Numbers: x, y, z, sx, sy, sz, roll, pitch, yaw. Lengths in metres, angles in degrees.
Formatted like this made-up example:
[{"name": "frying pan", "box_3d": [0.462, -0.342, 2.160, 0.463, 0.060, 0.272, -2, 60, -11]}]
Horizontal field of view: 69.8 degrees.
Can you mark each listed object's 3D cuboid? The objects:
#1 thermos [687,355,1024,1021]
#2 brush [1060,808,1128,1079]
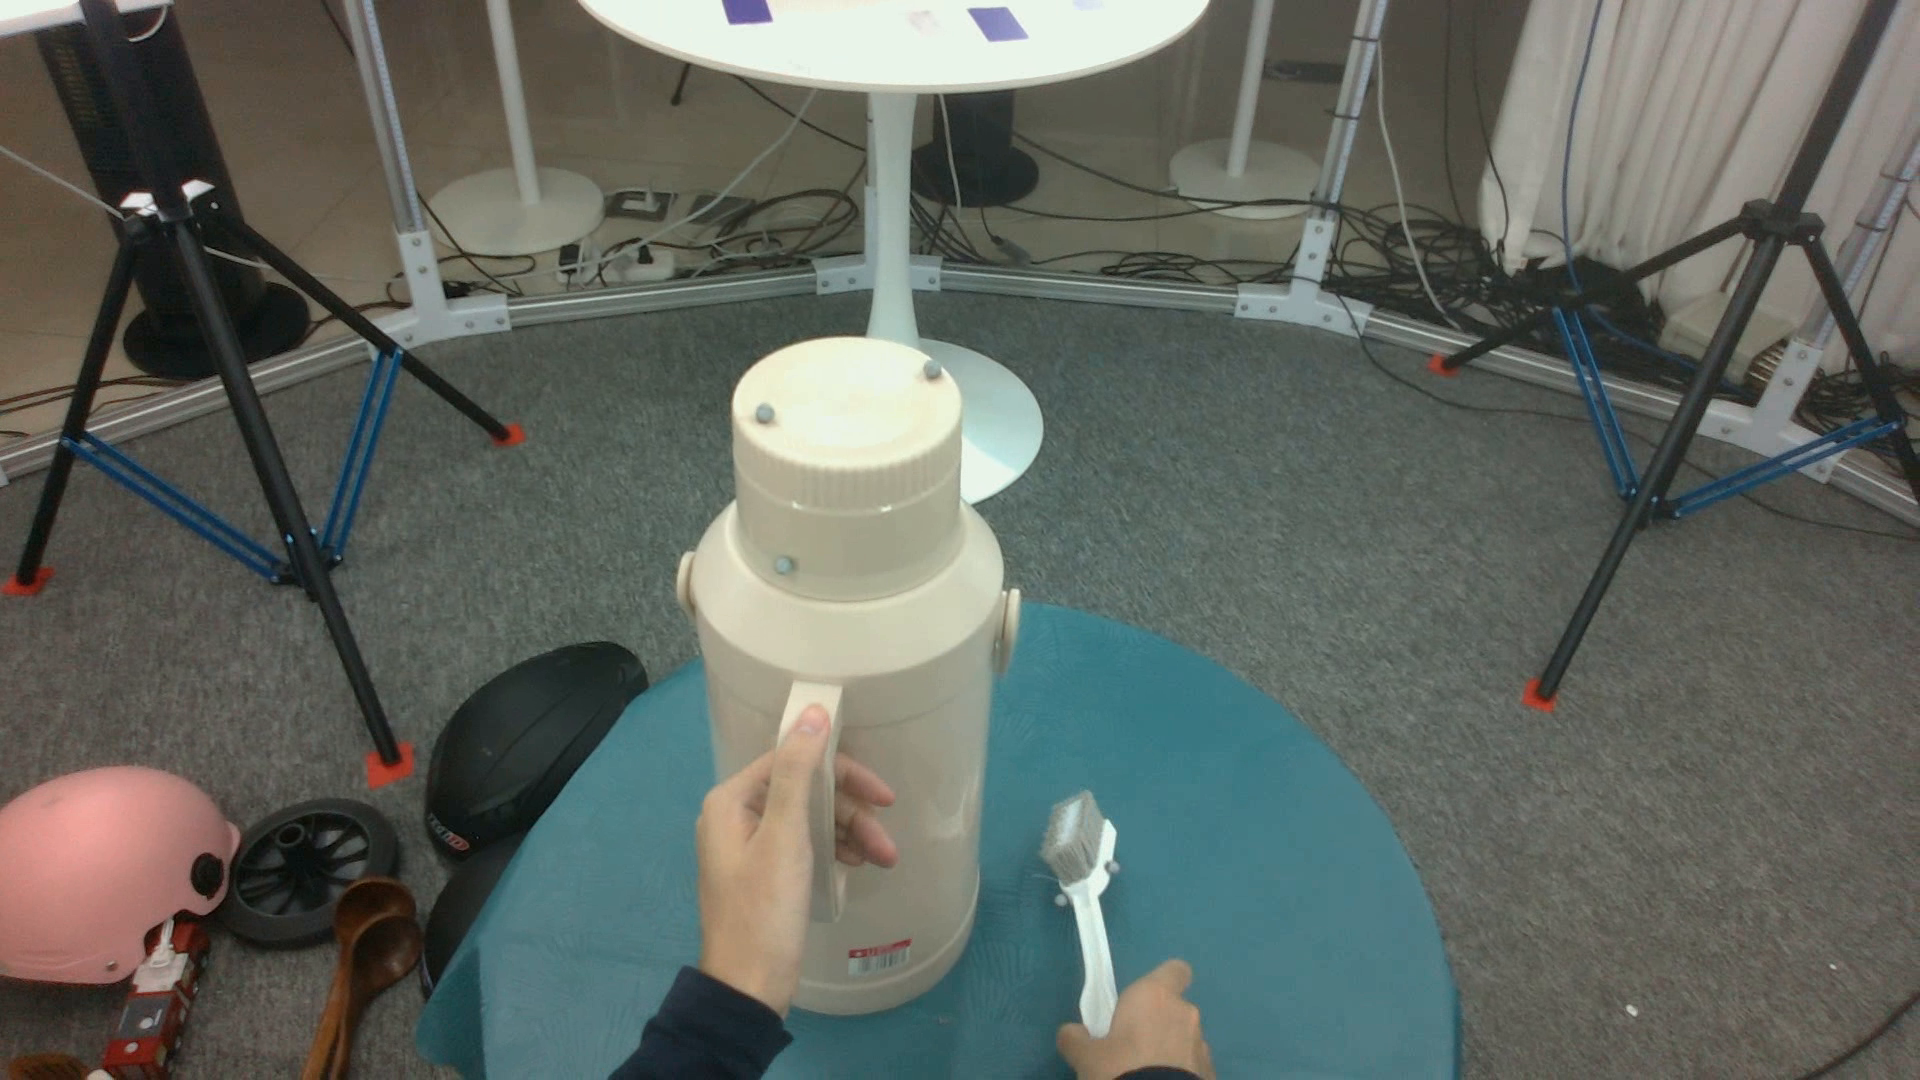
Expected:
[{"name": "thermos", "box_3d": [-0.060, 0.103, 0.757, 0.175, 0.404, 0.208, 7, 41, 2]}, {"name": "brush", "box_3d": [0.076, 0.256, 0.827, 0.034, 0.050, 0.245, -14, 31, 18]}]
